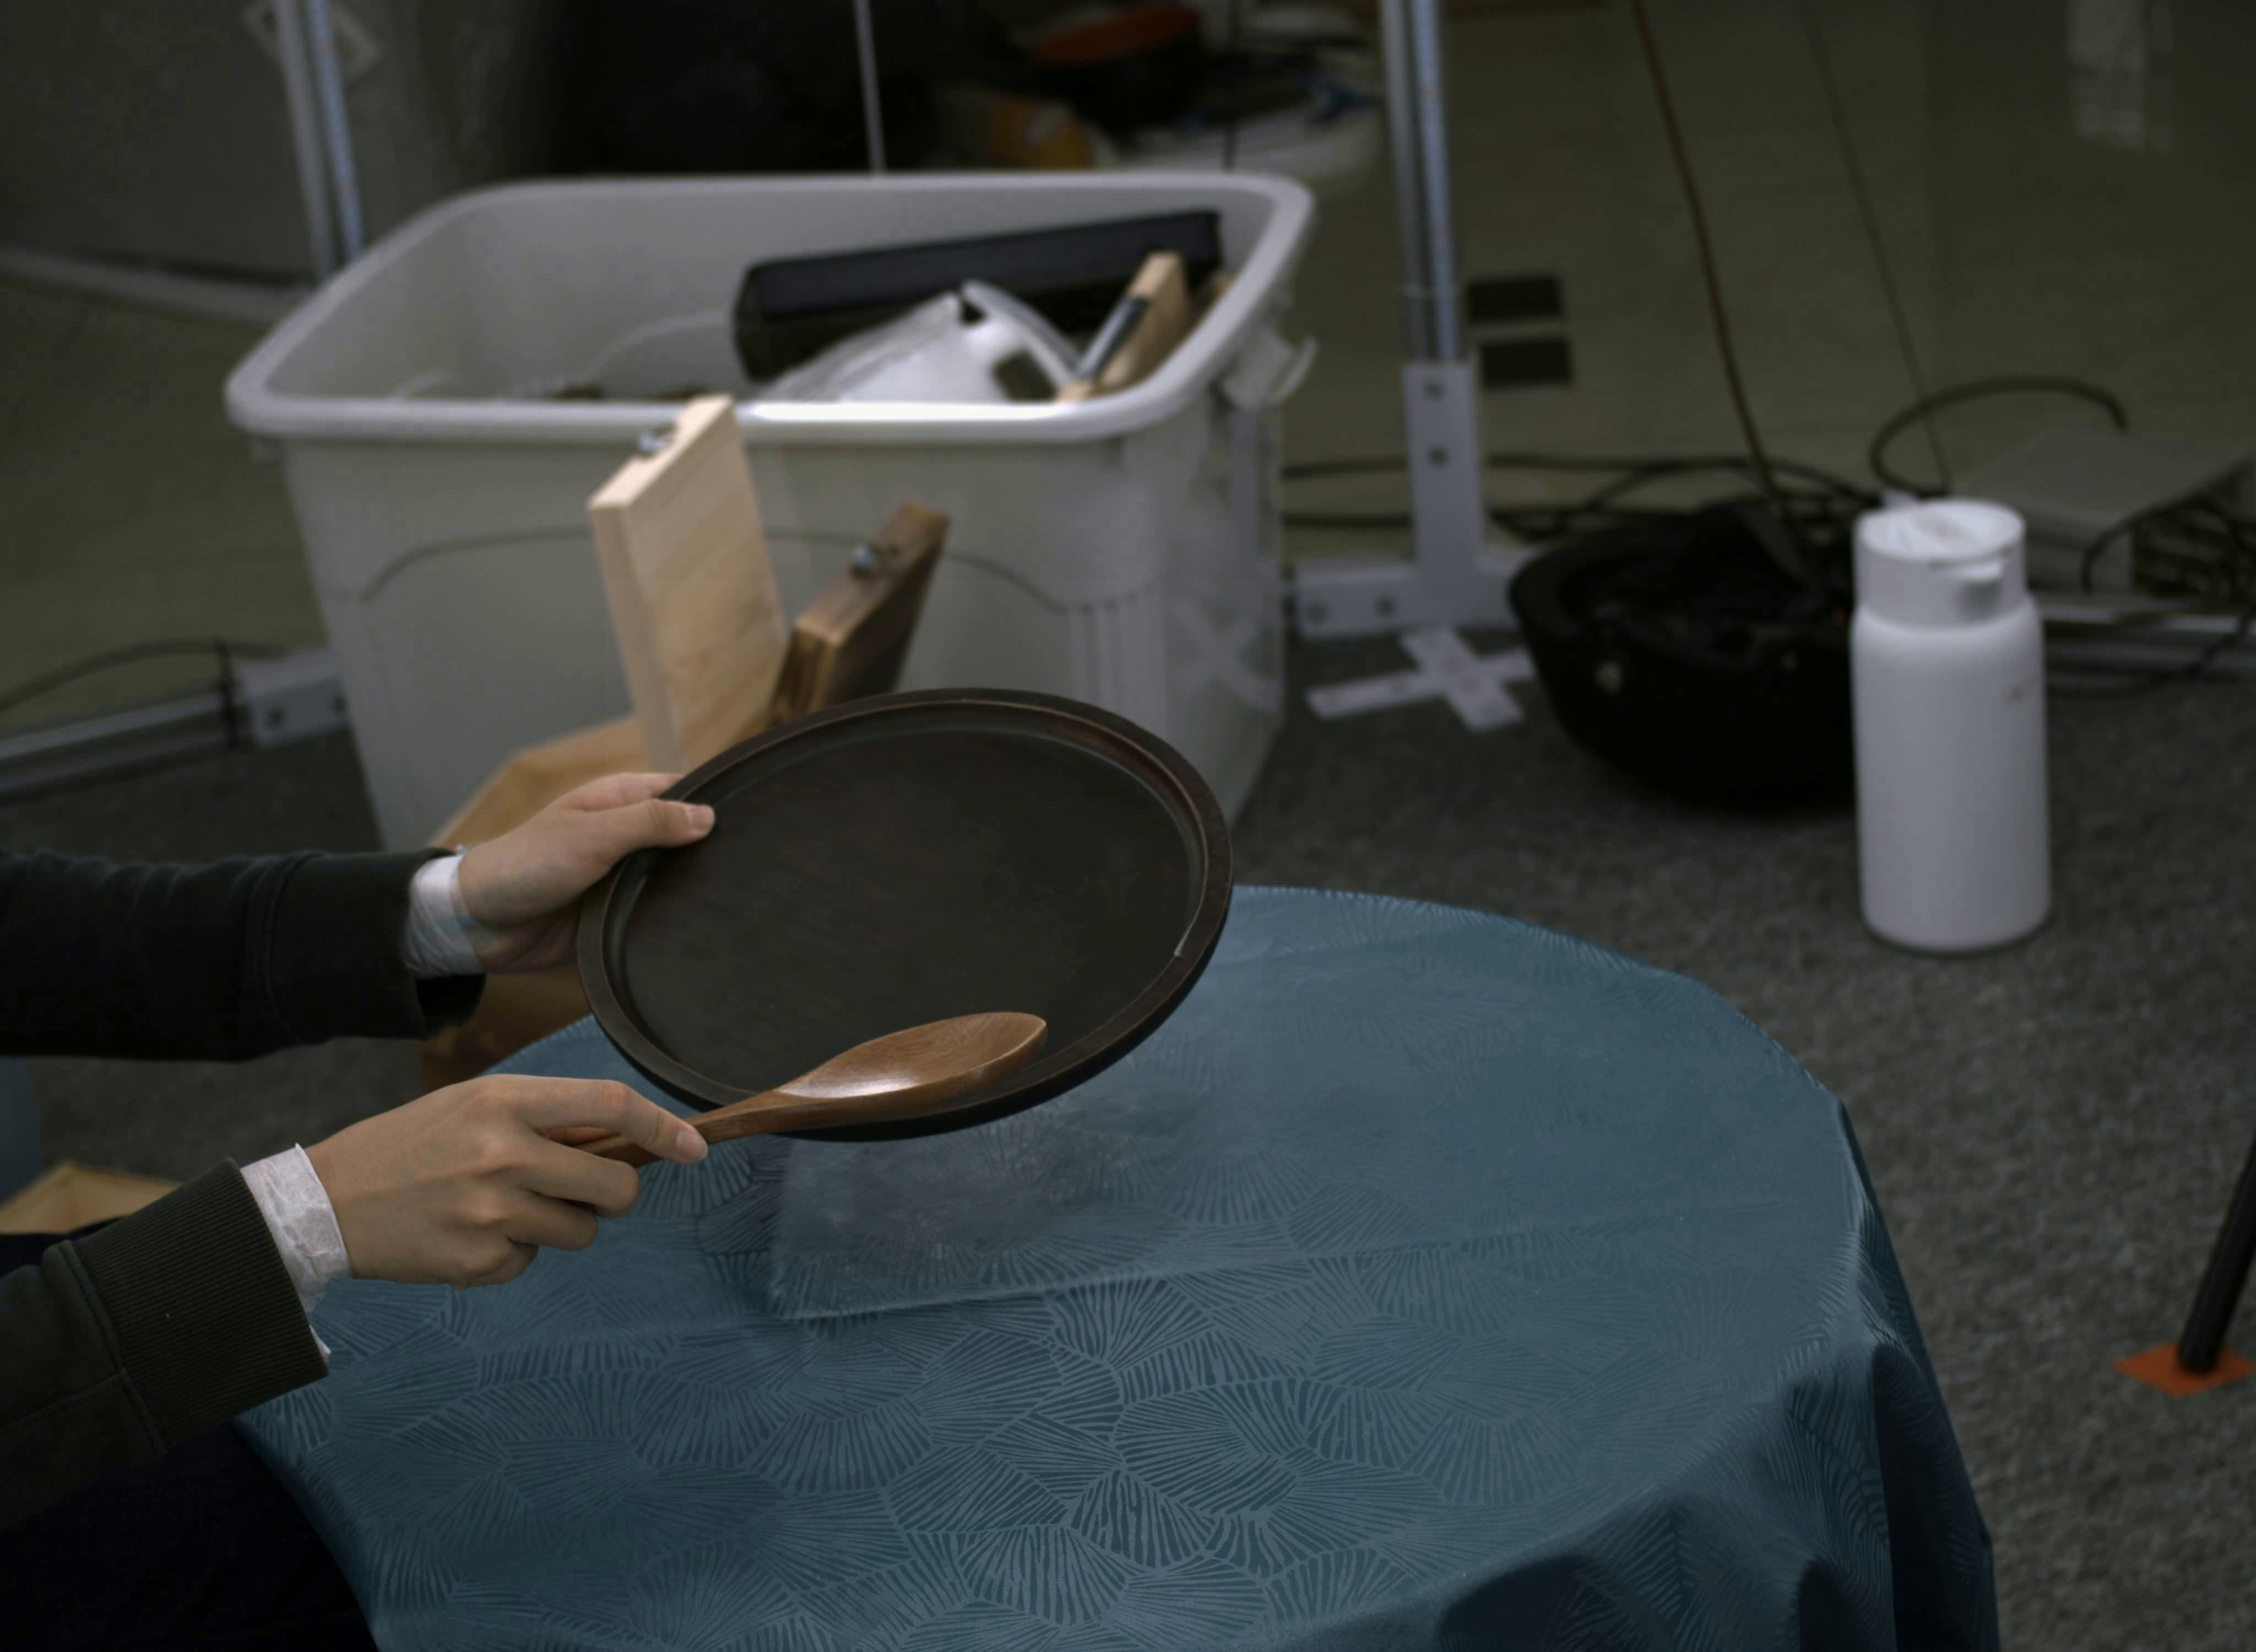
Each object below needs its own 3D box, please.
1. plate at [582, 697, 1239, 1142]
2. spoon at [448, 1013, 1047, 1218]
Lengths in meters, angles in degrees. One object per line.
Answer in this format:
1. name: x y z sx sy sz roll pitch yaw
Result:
1. plate: -0.082 0.034 2.154 0.254 0.029 0.250 -5 39 5
2. spoon: -0.131 0.103 1.971 0.215 0.017 0.075 -15 16 -5
